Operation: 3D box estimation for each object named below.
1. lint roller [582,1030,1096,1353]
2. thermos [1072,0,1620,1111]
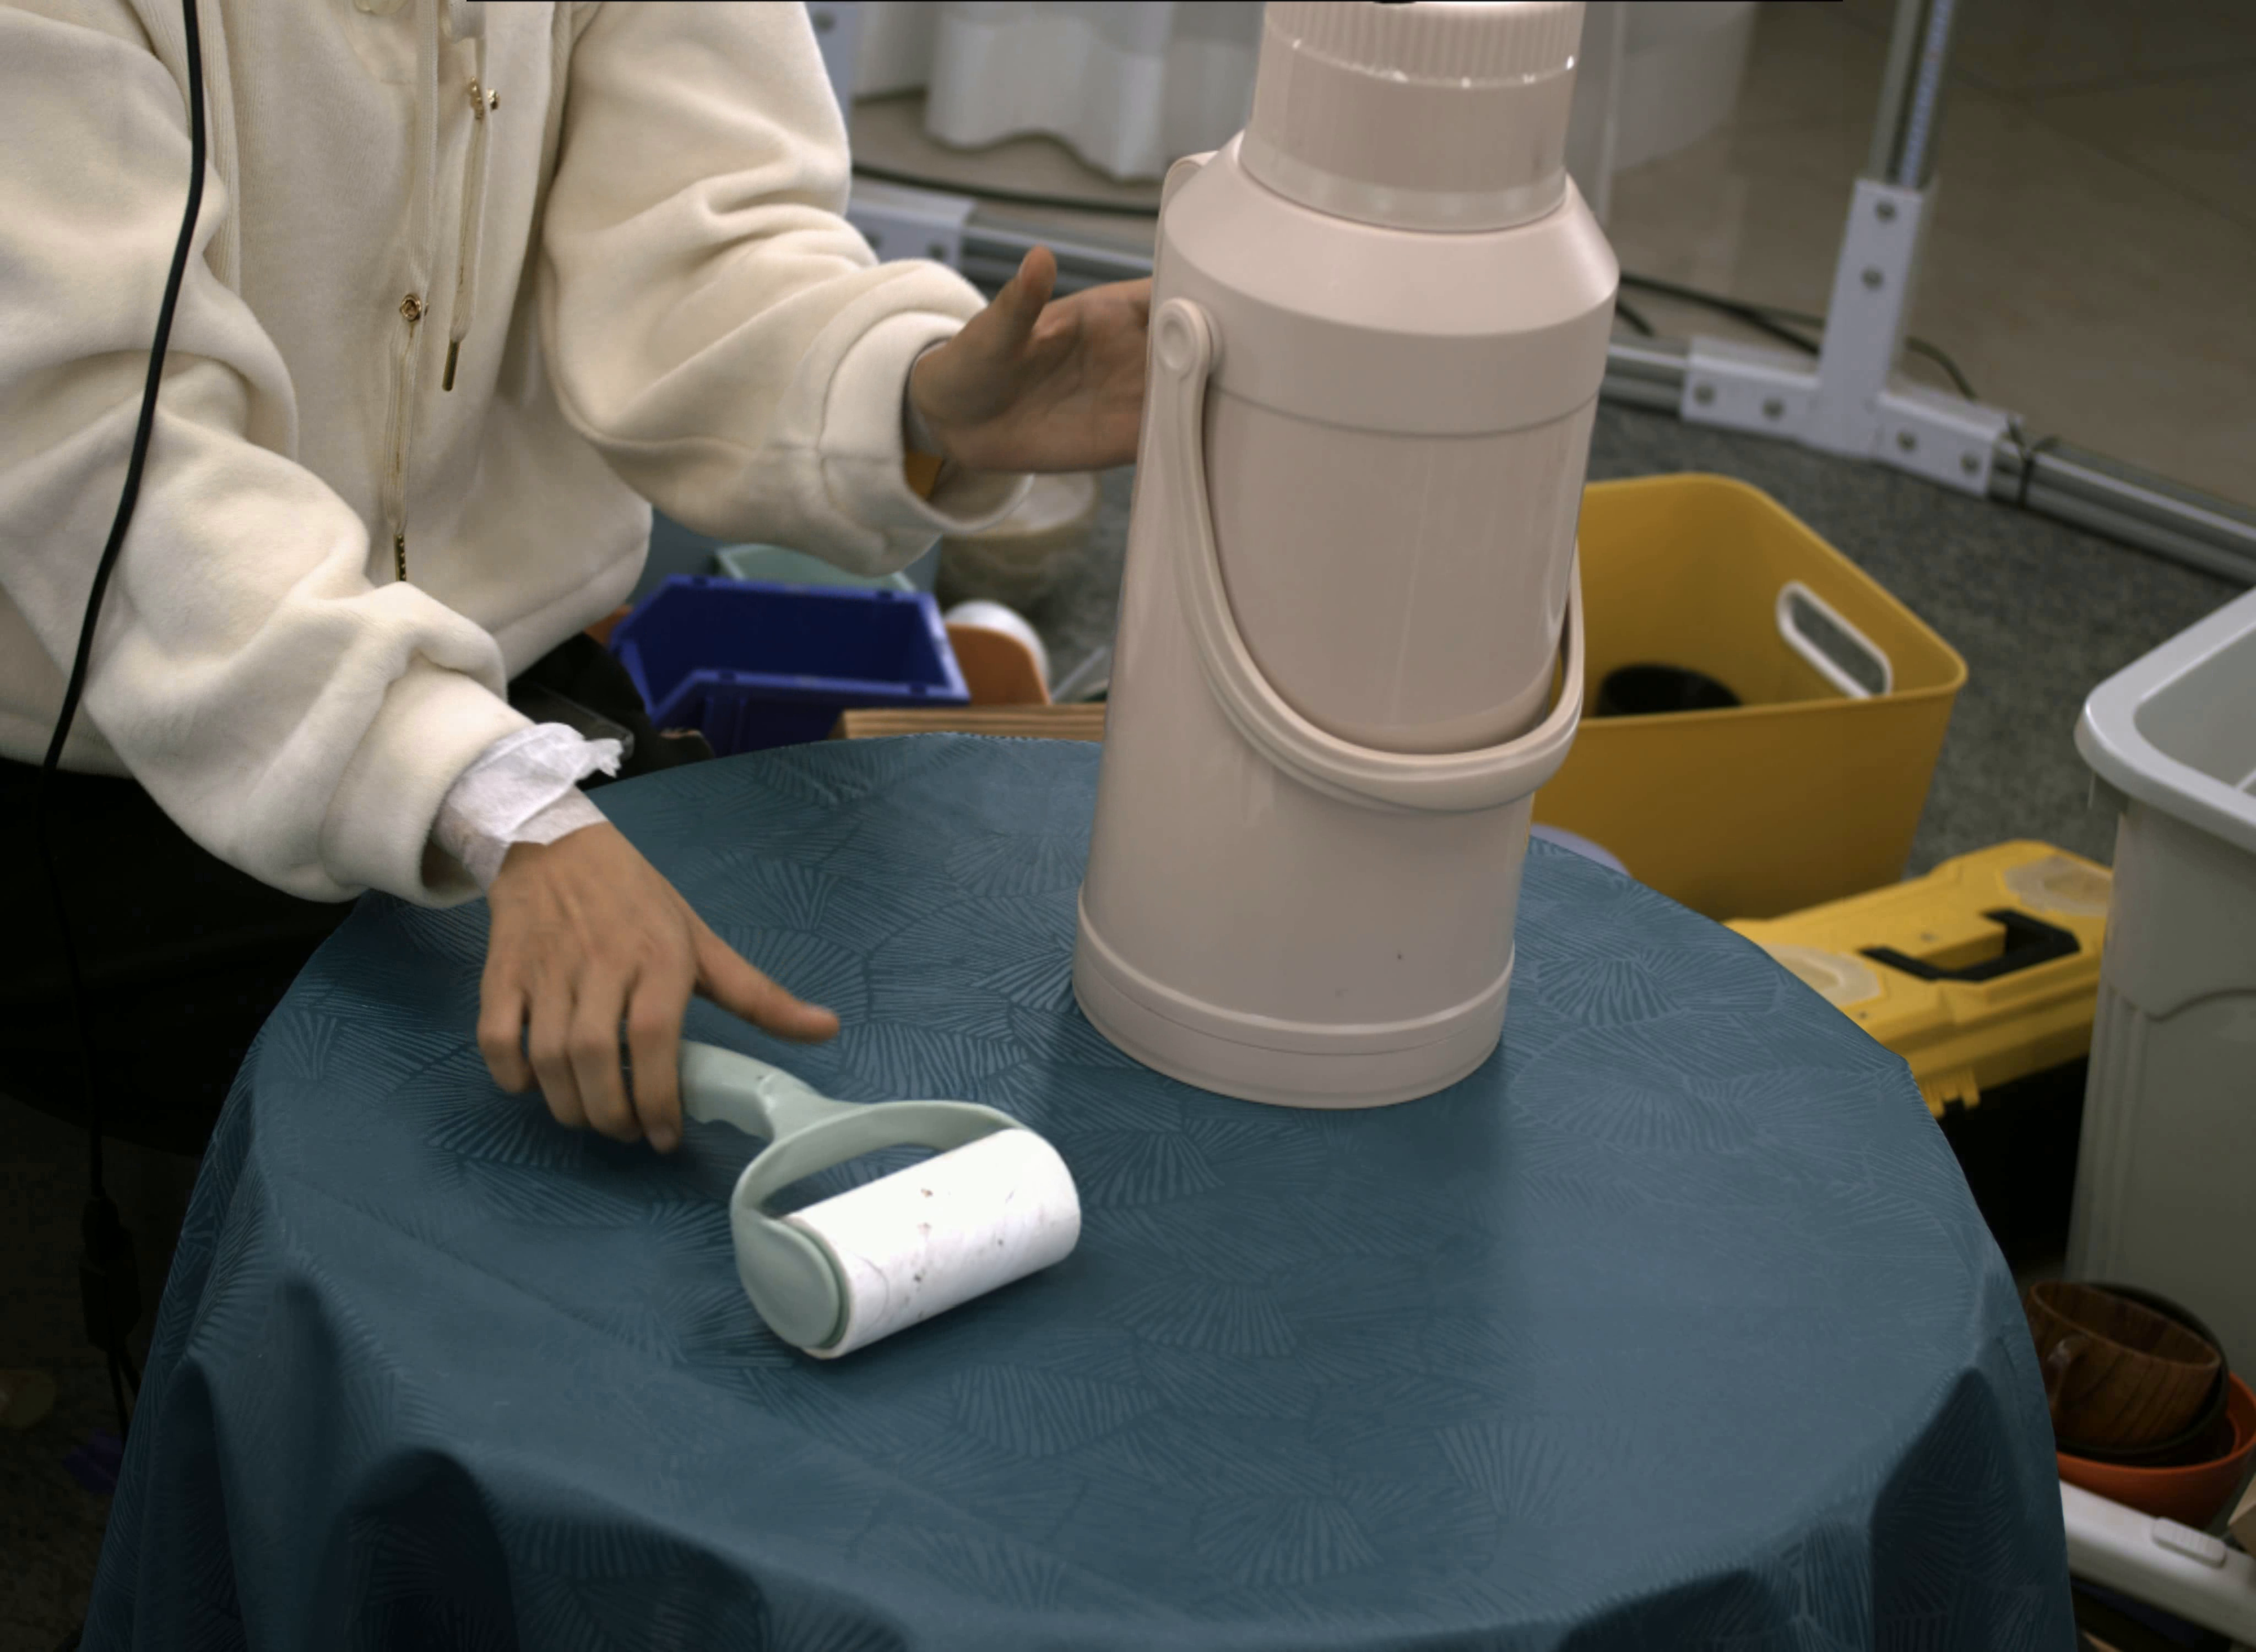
[{"bbox_3d":[-0.112,0.102,1.766,0.116,0.048,0.199,-21,38,-39],"label":"lint roller"},{"bbox_3d":[0.072,-0.118,1.856,0.174,0.405,0.209,-12,32,-32],"label":"thermos"}]
